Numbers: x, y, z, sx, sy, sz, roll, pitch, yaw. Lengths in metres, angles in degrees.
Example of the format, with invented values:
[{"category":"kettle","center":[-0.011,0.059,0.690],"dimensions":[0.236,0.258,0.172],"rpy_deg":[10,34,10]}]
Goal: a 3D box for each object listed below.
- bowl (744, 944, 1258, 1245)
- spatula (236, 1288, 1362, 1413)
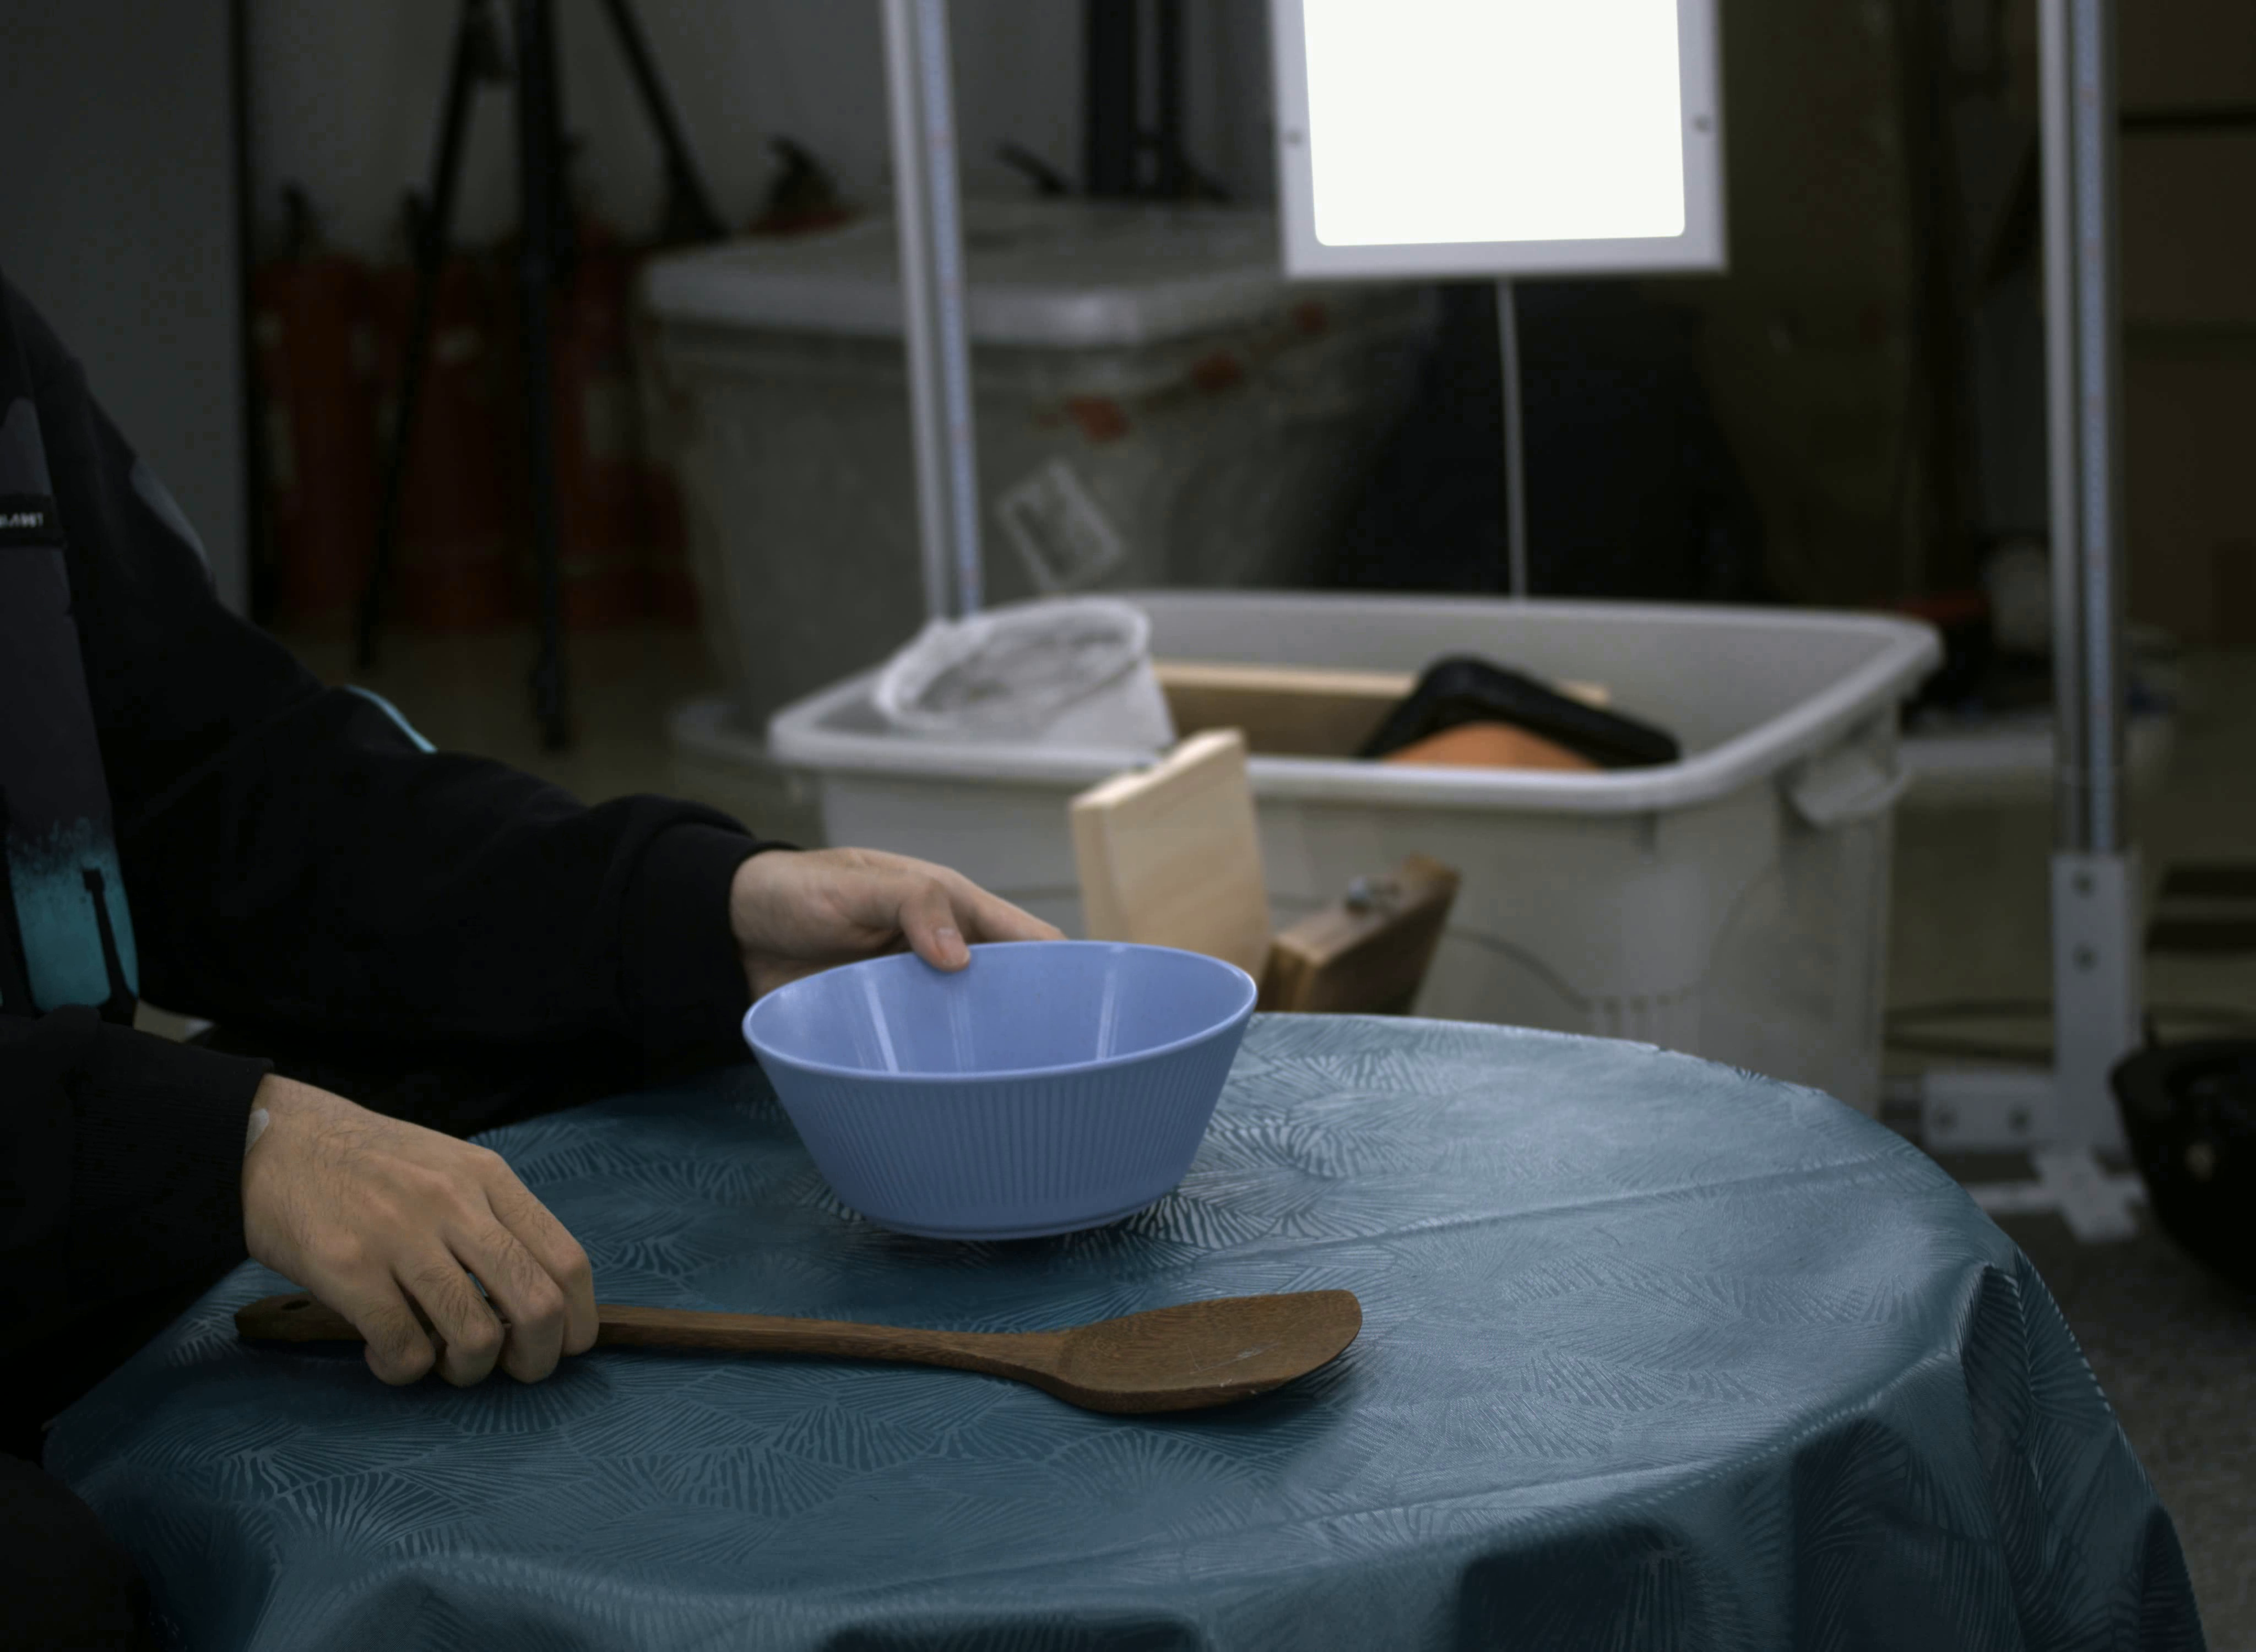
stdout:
[{"category":"bowl","center":[-0.040,0.093,1.870],"dimensions":[0.175,0.070,0.176],"rpy_deg":[-6,12,0]},{"category":"spatula","center":[-0.113,0.162,1.762],"dimensions":[0.391,0.016,0.094],"rpy_deg":[1,14,21]}]
